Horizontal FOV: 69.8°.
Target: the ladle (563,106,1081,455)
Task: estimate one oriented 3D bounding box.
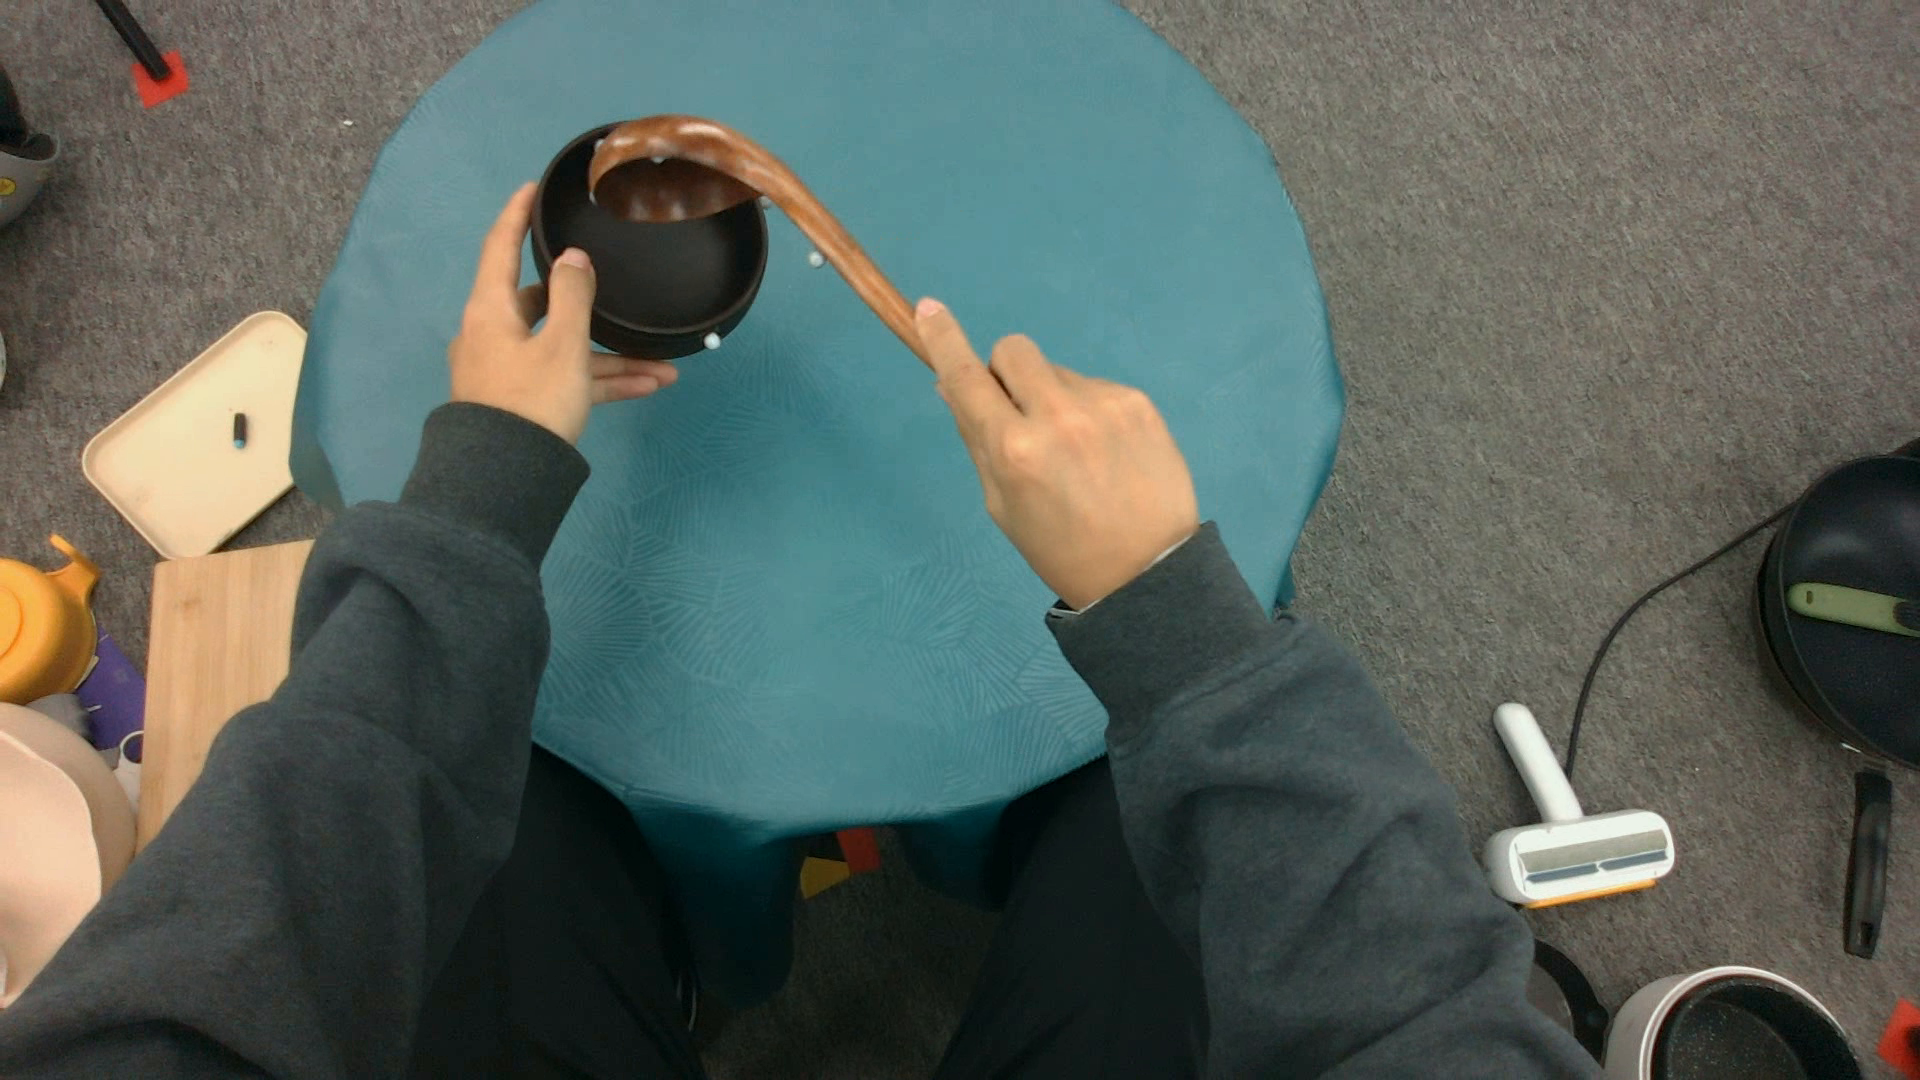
[{"bbox_3d":[-0.070,-0.105,0.613,0.274,0.082,0.076,44,106,16],"label":"ladle"}]

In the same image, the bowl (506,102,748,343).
[{"bbox_3d":[-0.173,-0.156,0.710,0.118,0.069,0.118,6,74,-20],"label":"bowl"}]
